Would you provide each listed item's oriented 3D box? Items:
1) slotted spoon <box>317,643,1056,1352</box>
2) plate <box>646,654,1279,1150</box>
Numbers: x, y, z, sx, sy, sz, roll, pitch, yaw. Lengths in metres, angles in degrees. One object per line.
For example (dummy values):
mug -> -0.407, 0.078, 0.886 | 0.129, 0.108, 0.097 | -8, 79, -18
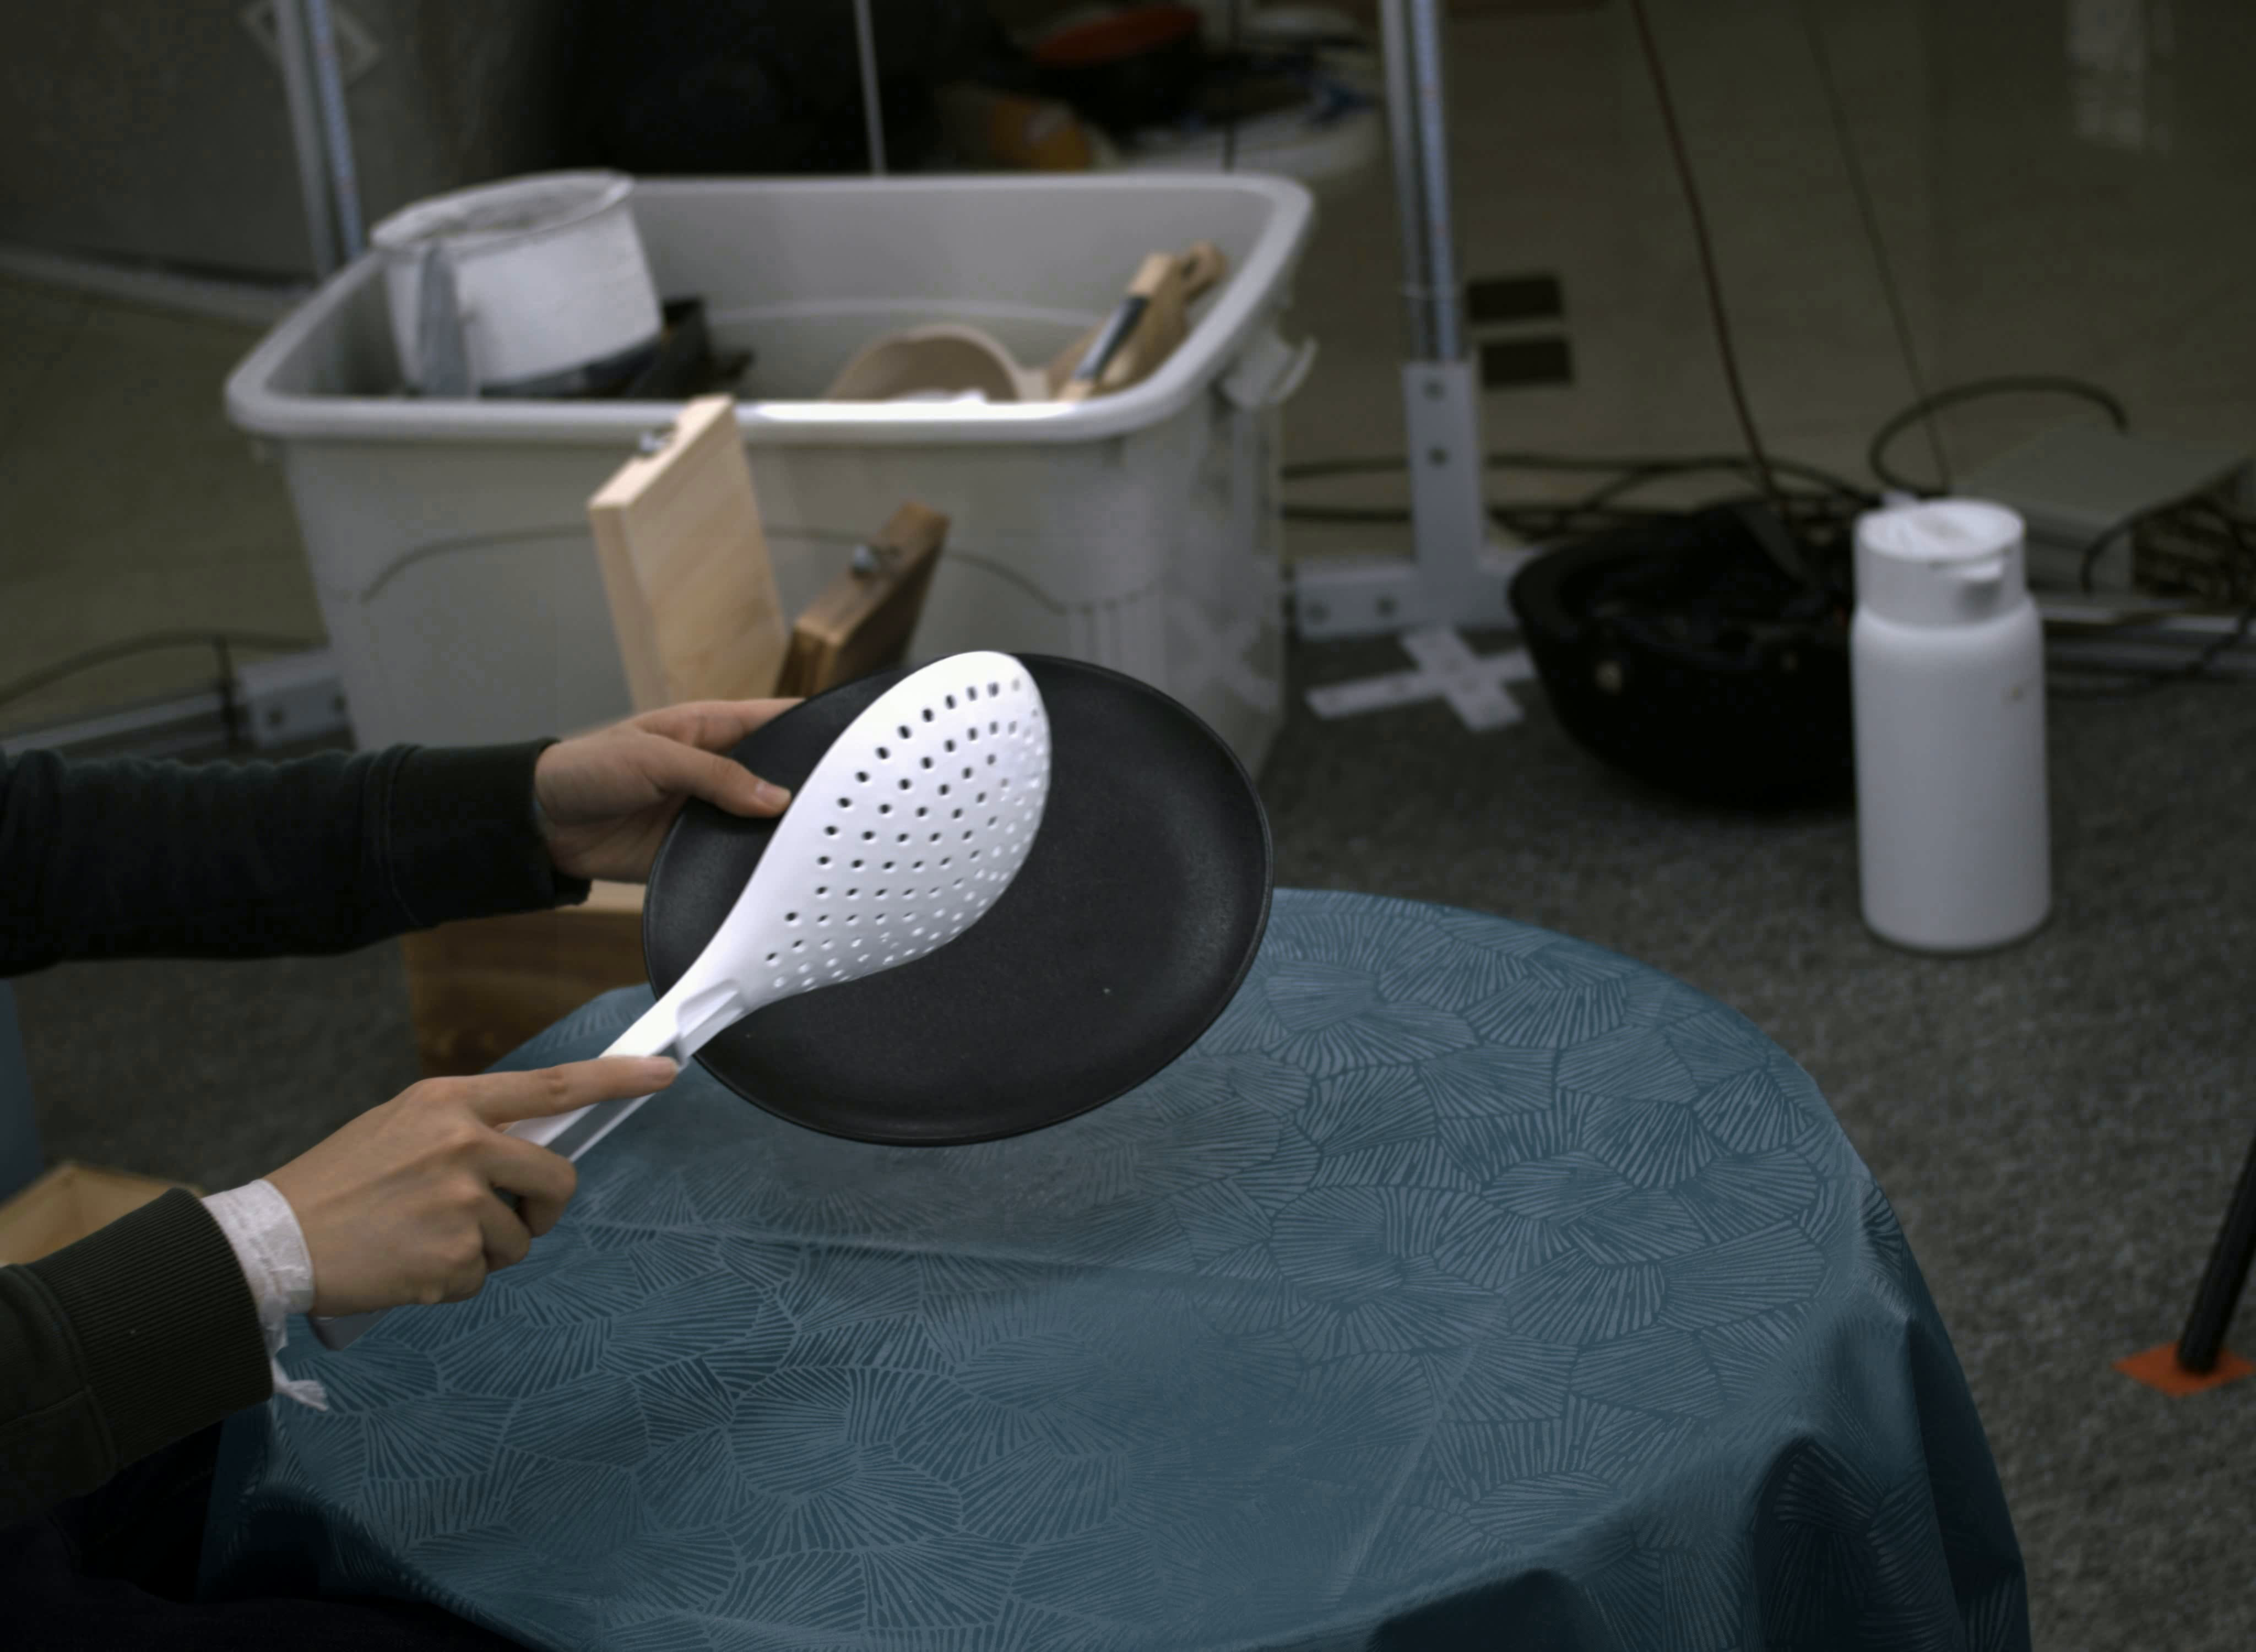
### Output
slotted spoon -> -0.149, 0.064, 1.994 | 0.347, 0.138, 0.045 | -37, 57, -17
plate -> -0.062, 0.032, 2.162 | 0.244, 0.024, 0.240 | -4, 51, 5
